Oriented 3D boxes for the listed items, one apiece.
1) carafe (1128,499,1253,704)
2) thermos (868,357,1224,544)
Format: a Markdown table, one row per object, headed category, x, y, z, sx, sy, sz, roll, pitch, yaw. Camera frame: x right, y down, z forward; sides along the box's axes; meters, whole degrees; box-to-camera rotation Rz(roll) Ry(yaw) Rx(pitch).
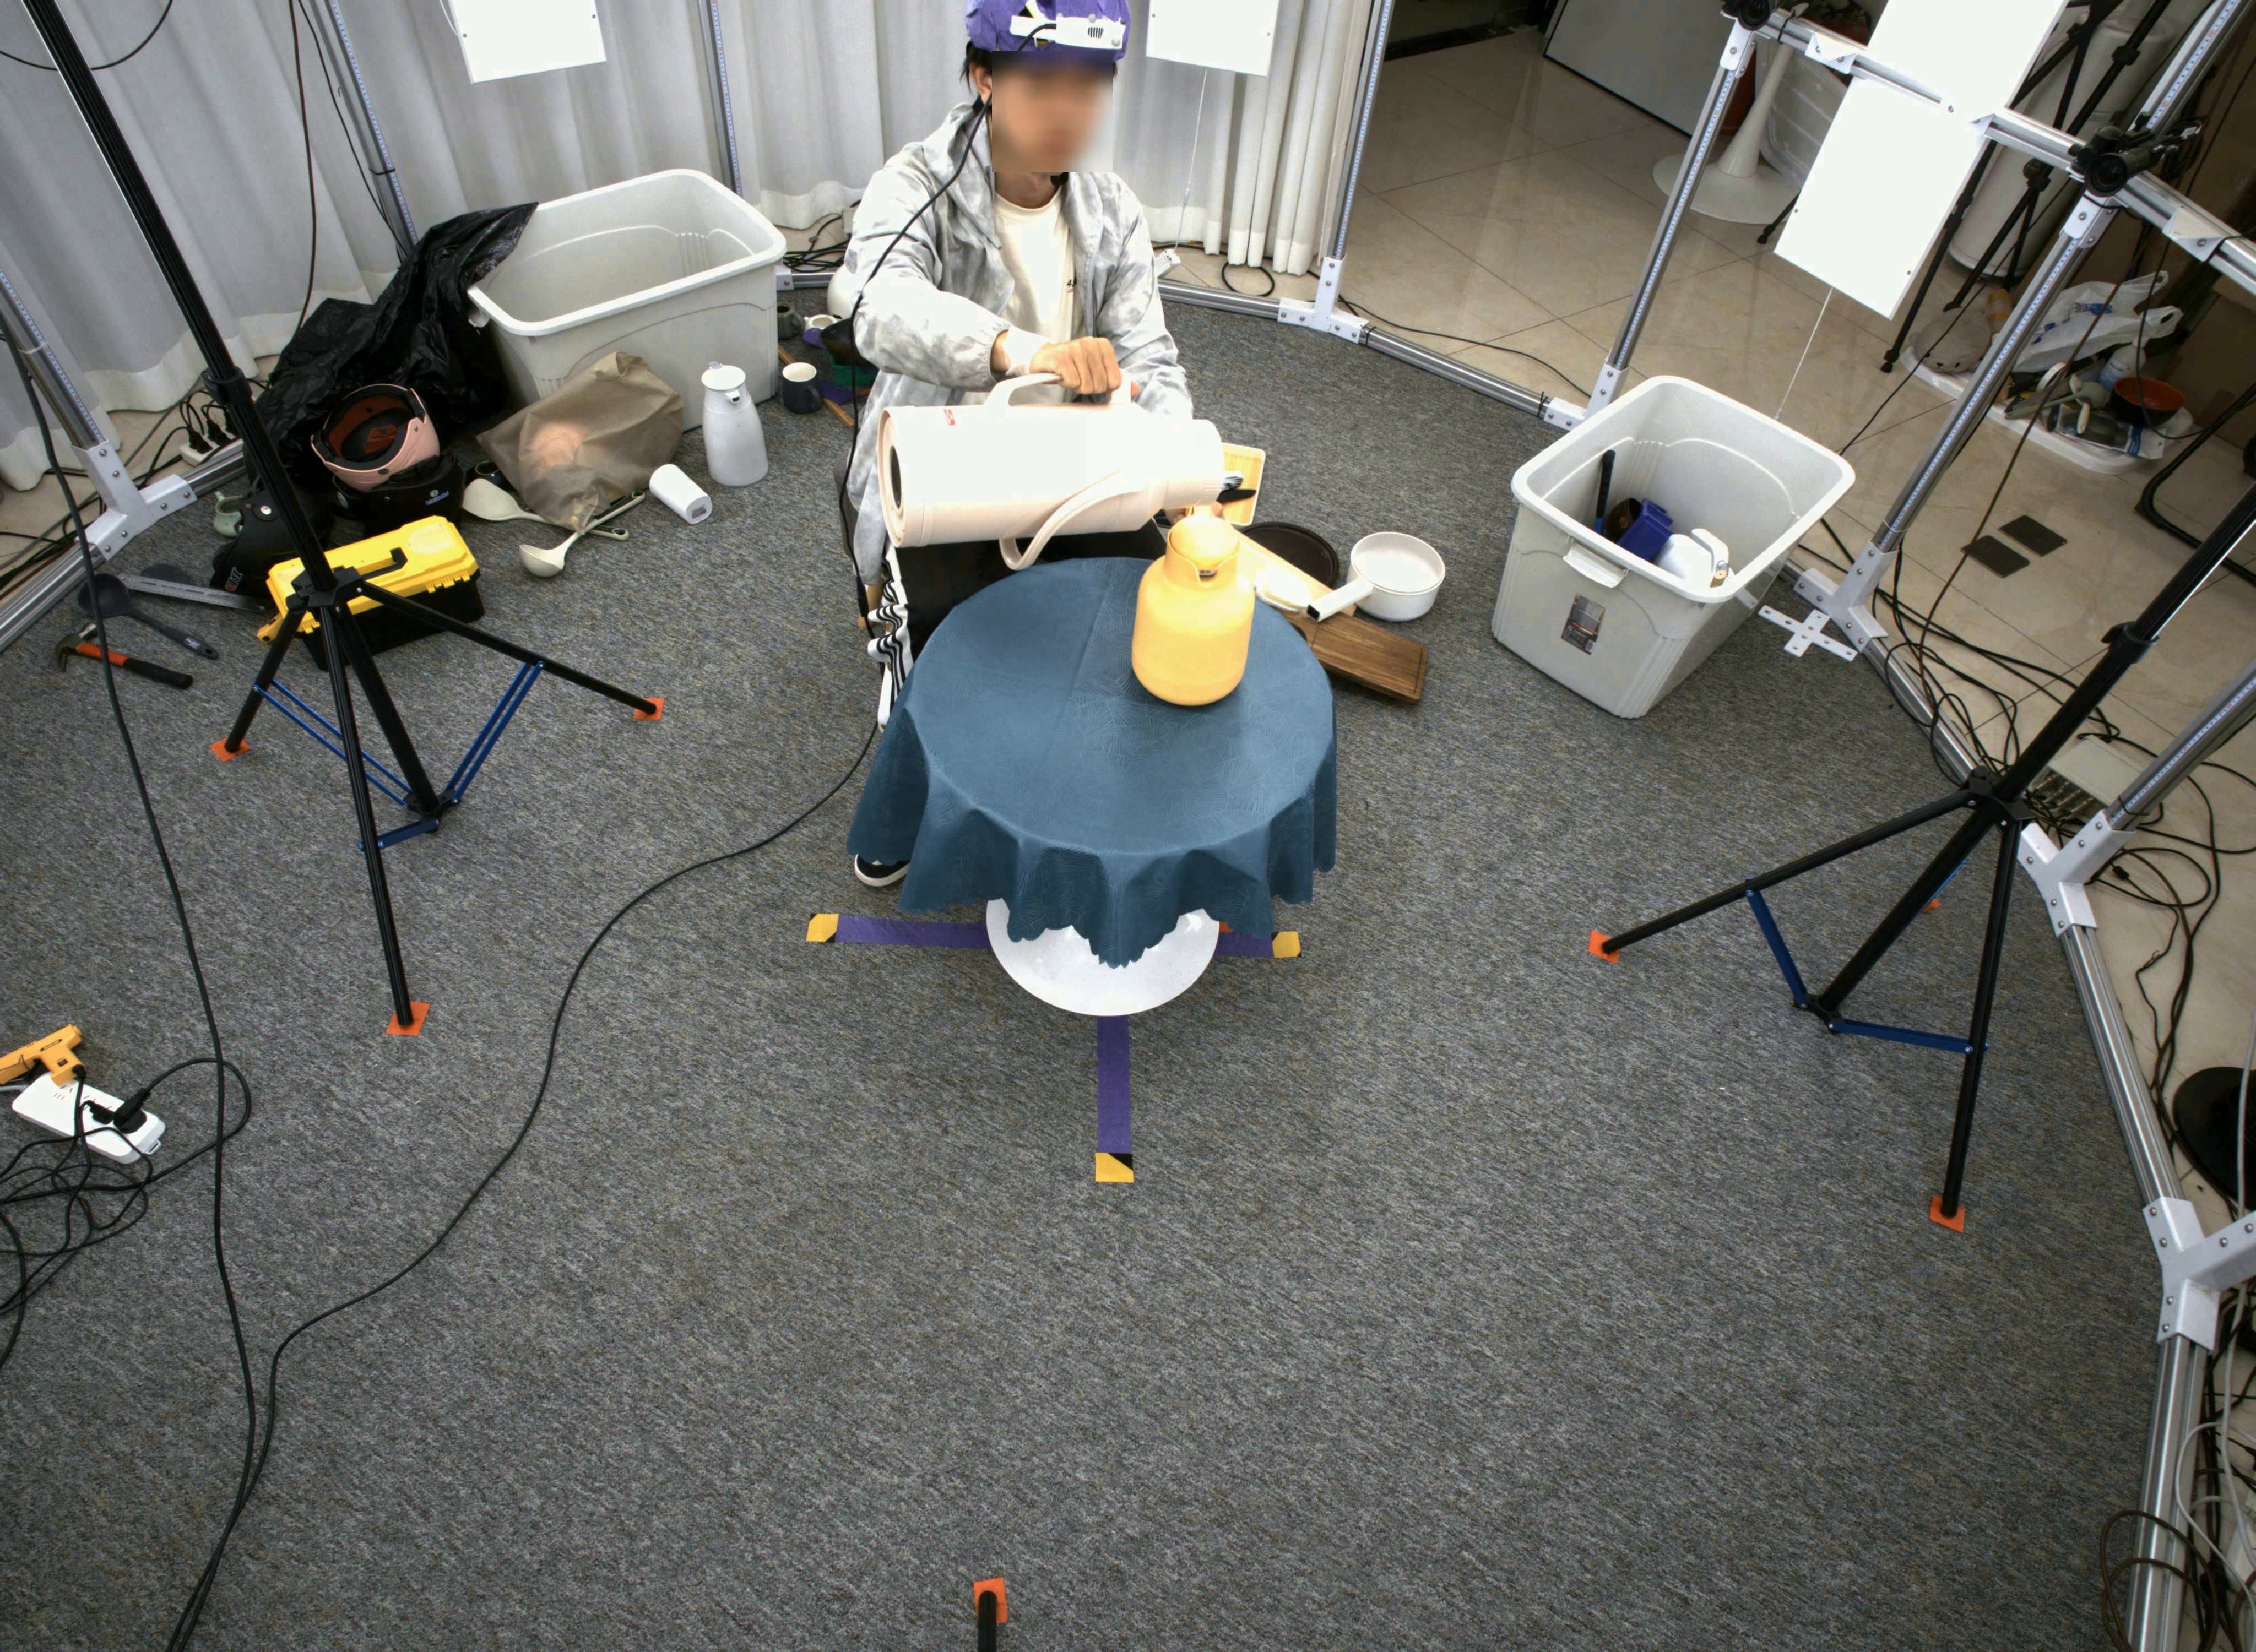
| category | x | y | z | sx | sy | sz | roll | pitch | yaw |
| --- | --- | --- | --- | --- | --- | --- | --- | --- | --- |
| carafe | 0.091 | -0.317 | 1.774 | 0.163 | 0.254 | 0.207 | 4 | 50 | -4 |
| thermos | -0.091 | -0.442 | 1.529 | 0.405 | 0.203 | 0.178 | -7 | 24 | -17 |
